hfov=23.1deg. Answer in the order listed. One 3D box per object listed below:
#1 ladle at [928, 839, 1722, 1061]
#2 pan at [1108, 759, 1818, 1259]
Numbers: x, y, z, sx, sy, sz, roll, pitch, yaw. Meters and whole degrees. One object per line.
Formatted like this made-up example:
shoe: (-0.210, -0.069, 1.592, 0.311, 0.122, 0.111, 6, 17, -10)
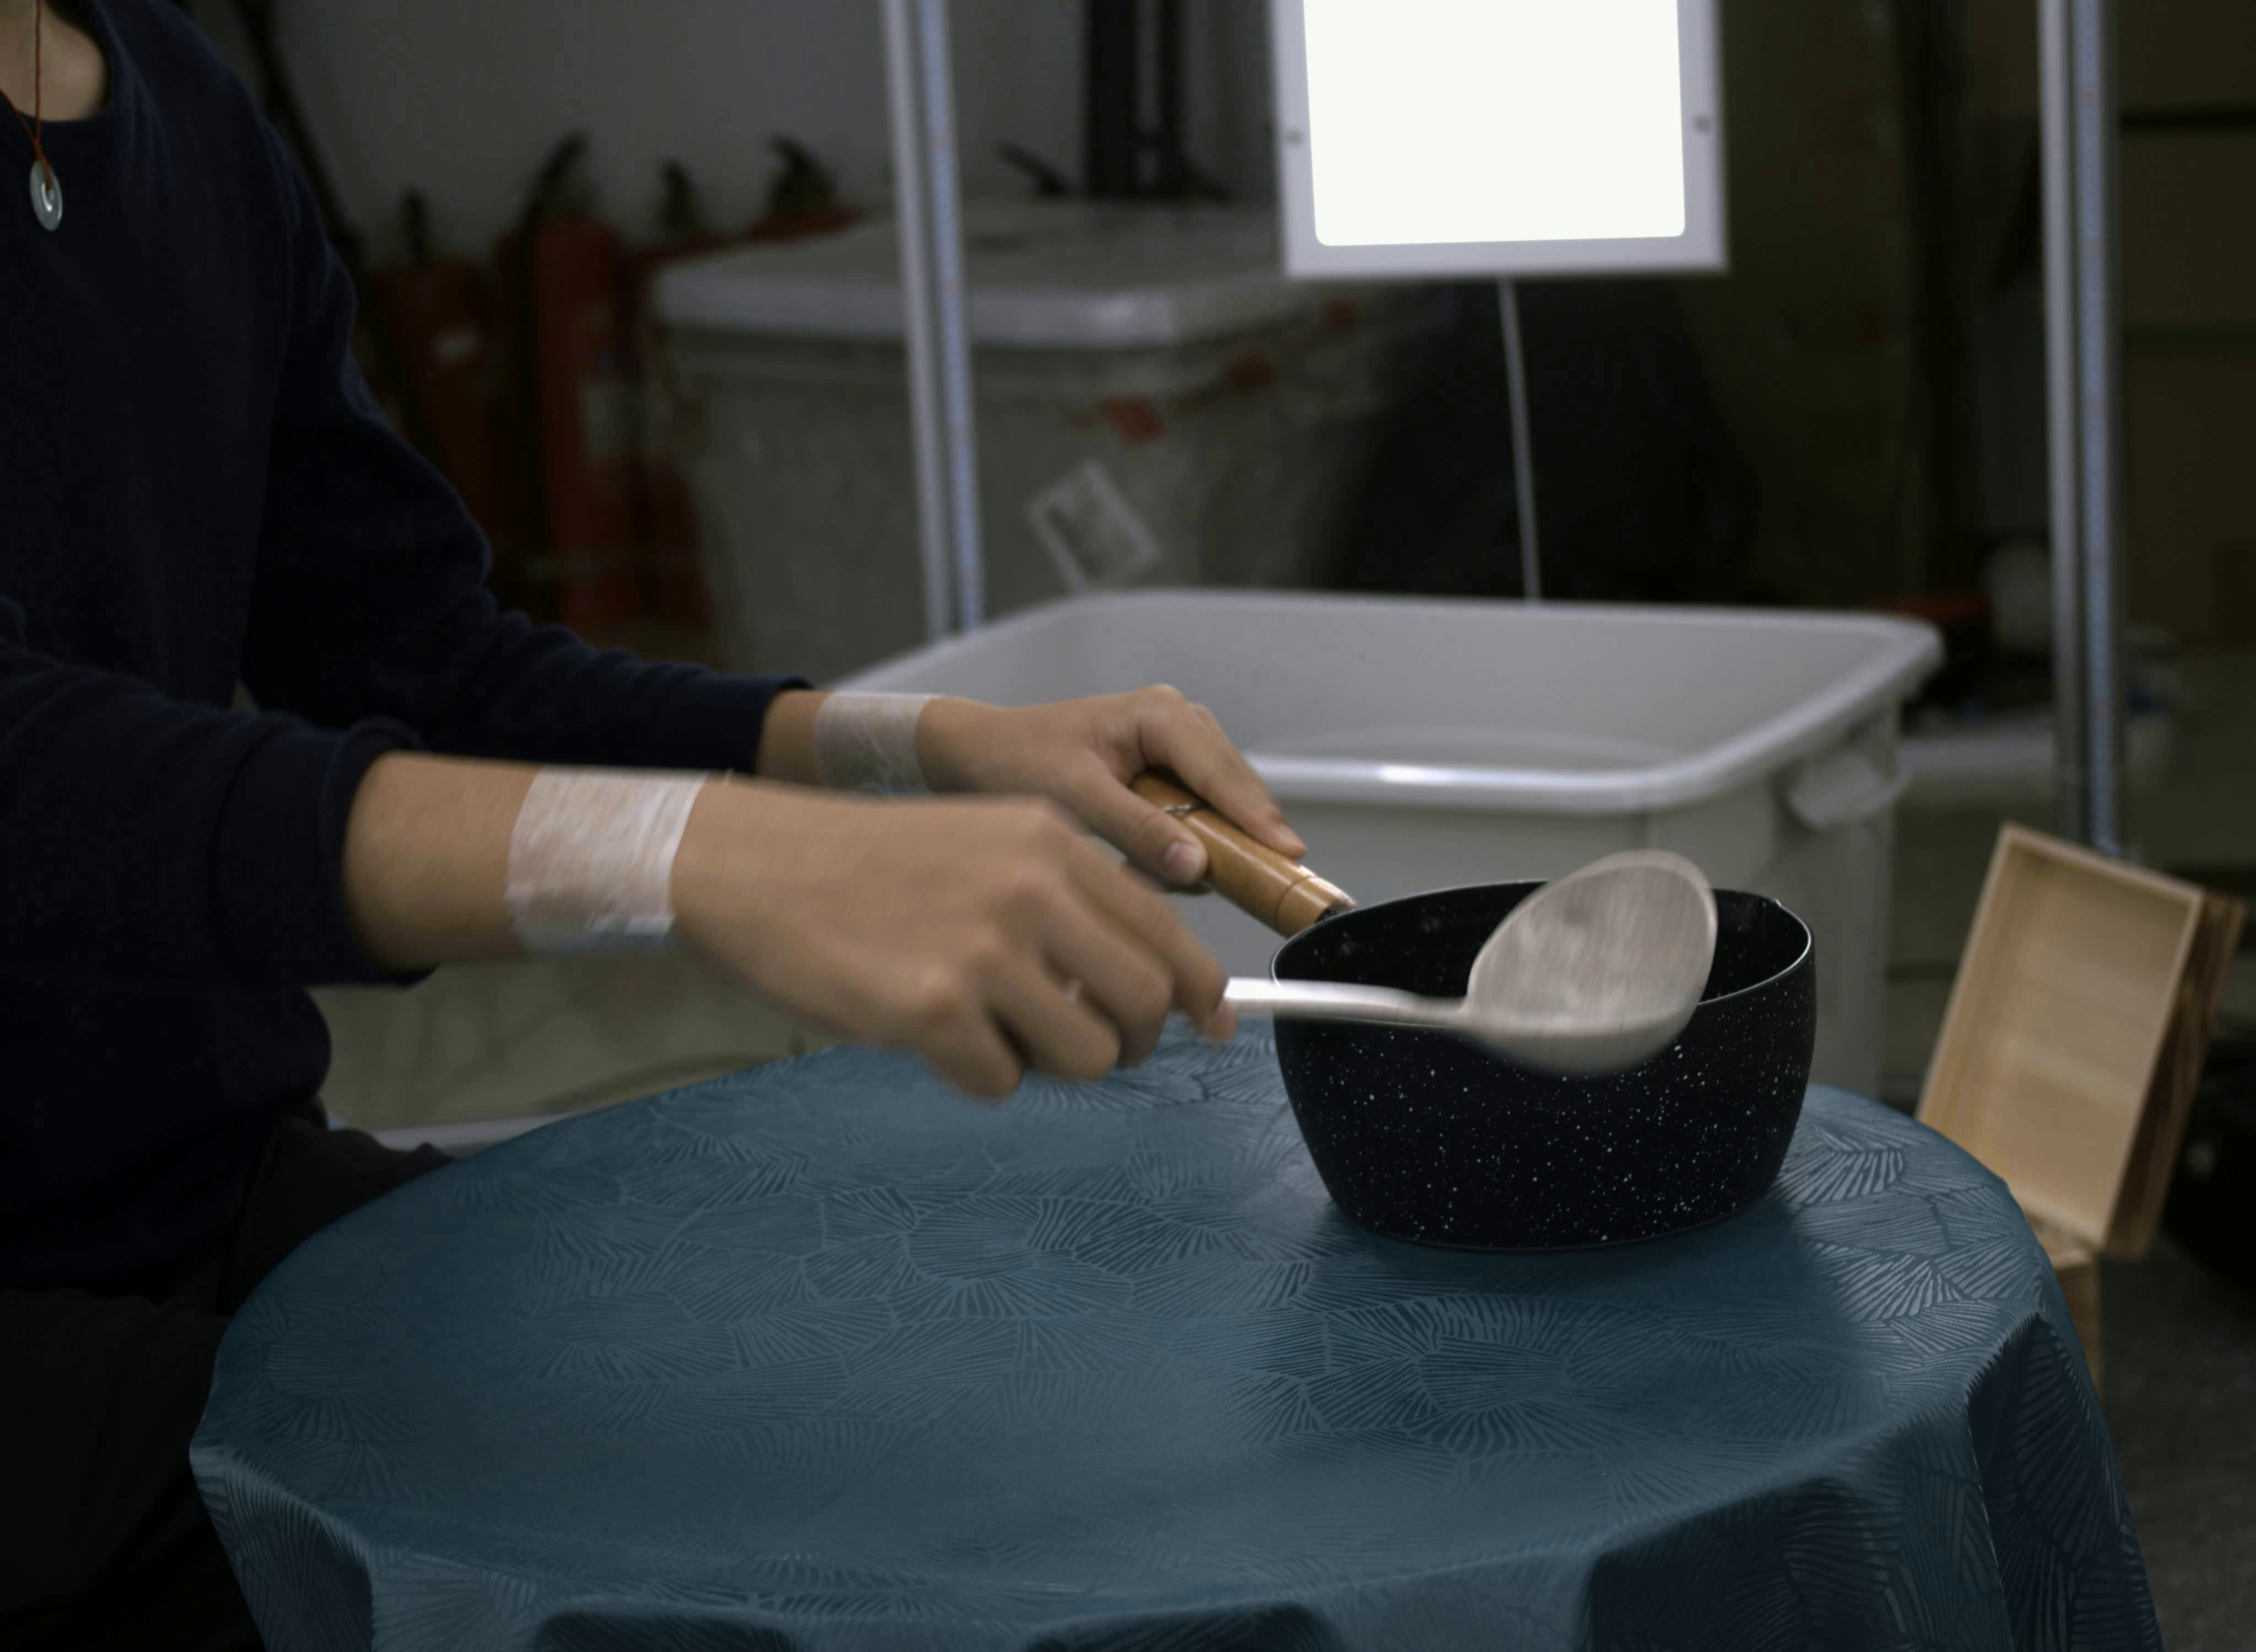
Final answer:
ladle: (0.060, 0.030, 1.618, 0.268, 0.070, 0.091, 5, 14, -37)
pan: (0.096, 0.057, 1.916, 0.202, 0.108, 0.349, -15, 18, -31)
